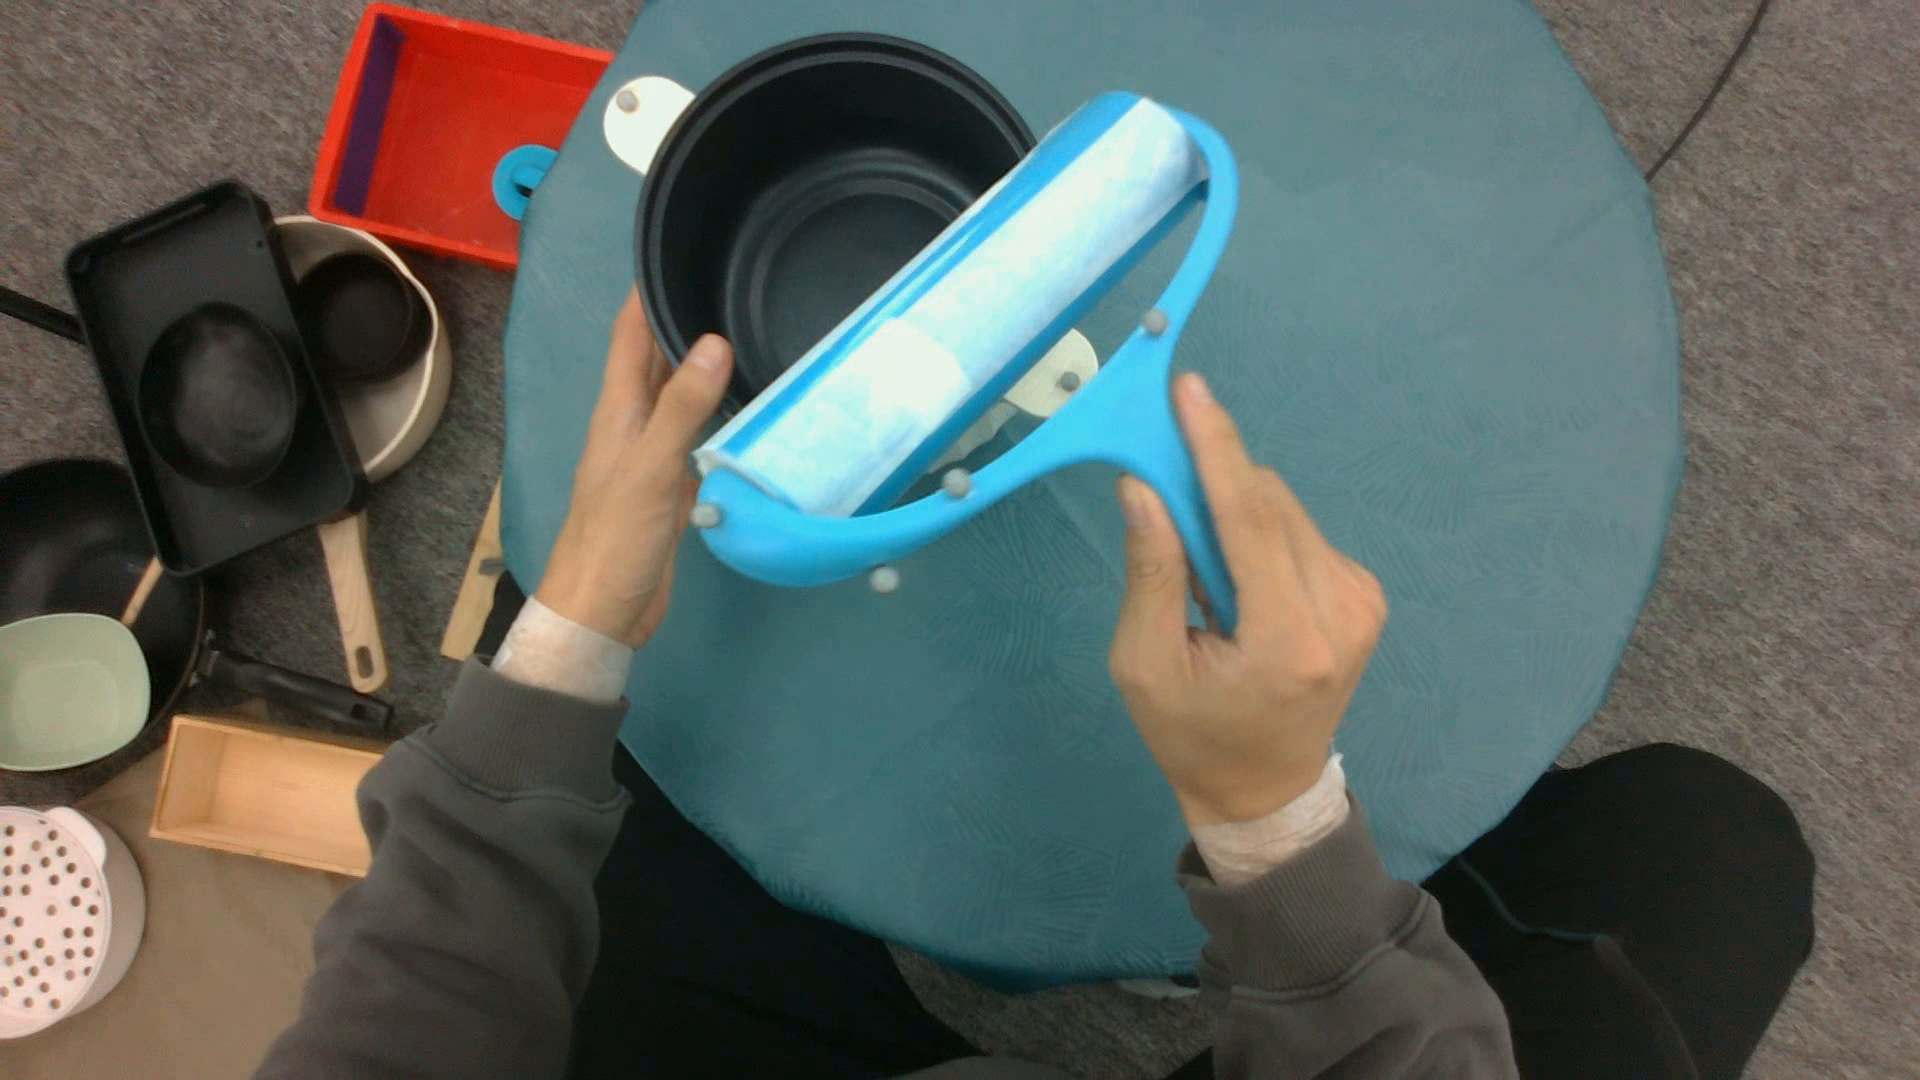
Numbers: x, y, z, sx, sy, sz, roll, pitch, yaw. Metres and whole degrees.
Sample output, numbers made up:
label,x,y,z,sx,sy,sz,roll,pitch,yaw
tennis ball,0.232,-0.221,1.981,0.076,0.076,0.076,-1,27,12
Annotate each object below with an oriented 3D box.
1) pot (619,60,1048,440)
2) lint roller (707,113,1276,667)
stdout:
label,x,y,z,sx,sy,sz,roll,pitch,yaw
pot,-0.039,-0.120,0.659,0.240,0.142,0.190,31,90,5
lint roller,0.048,-0.031,0.466,0.180,0.067,0.230,41,68,3
